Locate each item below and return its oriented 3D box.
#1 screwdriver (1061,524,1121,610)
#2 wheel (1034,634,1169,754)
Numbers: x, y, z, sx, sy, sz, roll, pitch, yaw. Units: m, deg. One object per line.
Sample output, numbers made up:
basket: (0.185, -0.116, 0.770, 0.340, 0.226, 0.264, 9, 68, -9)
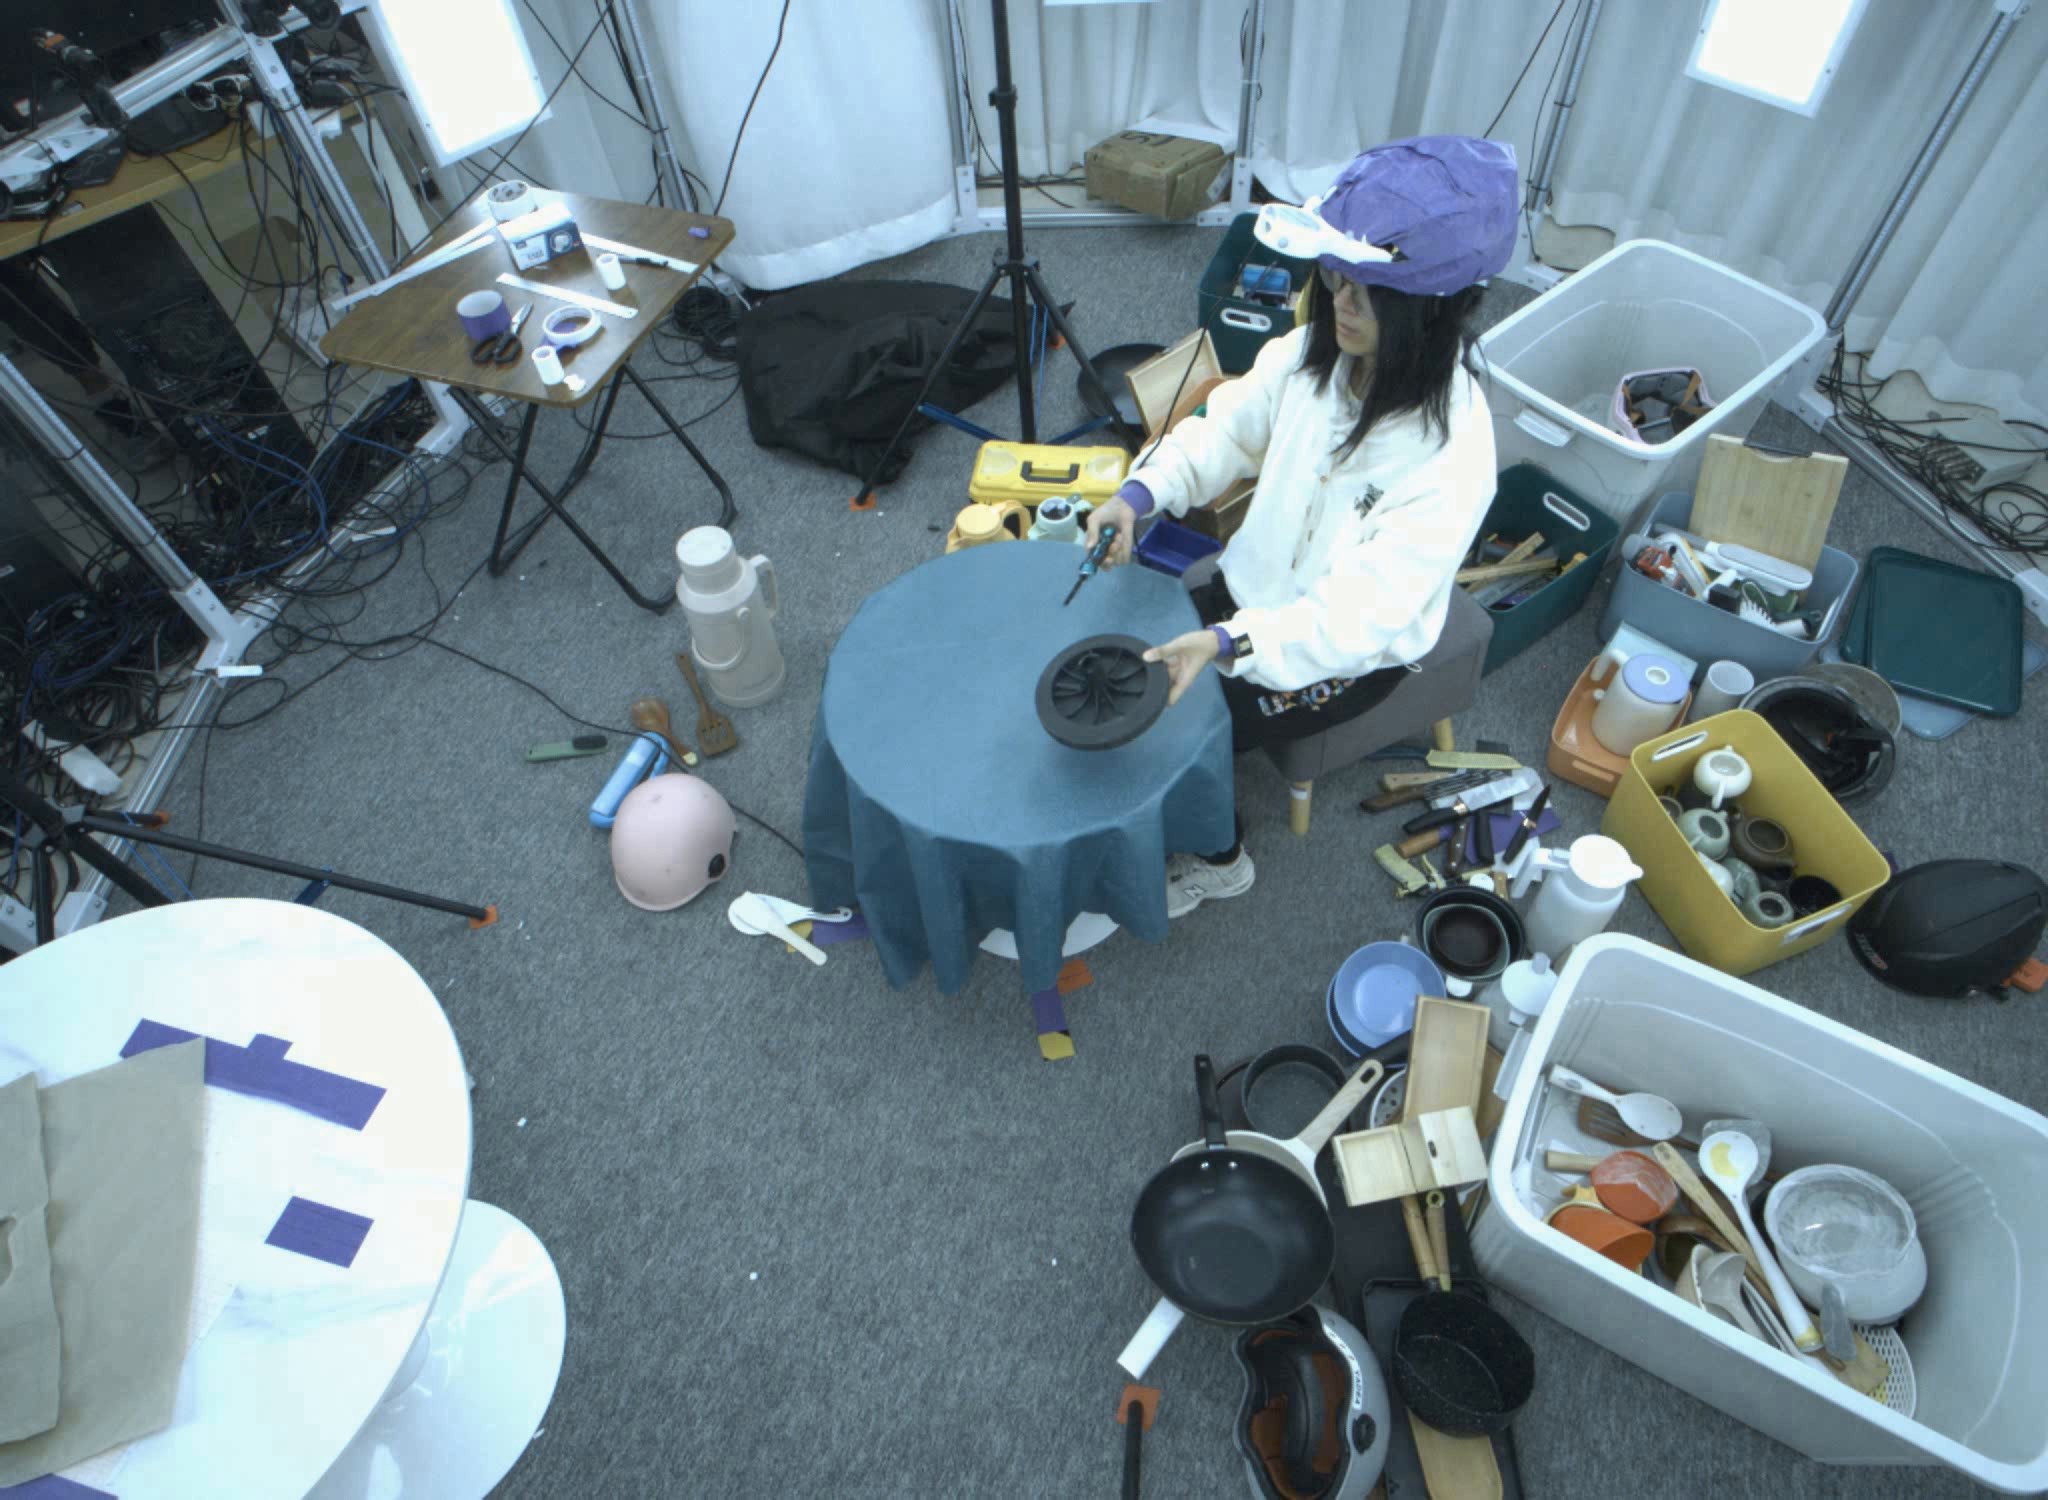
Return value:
screwdriver: (0.093, -0.262, 1.761, 0.033, 0.034, 0.190, 20, 52, 16)
wheel: (0.098, -0.090, 1.671, 0.188, 0.080, 0.185, -14, 55, 12)
